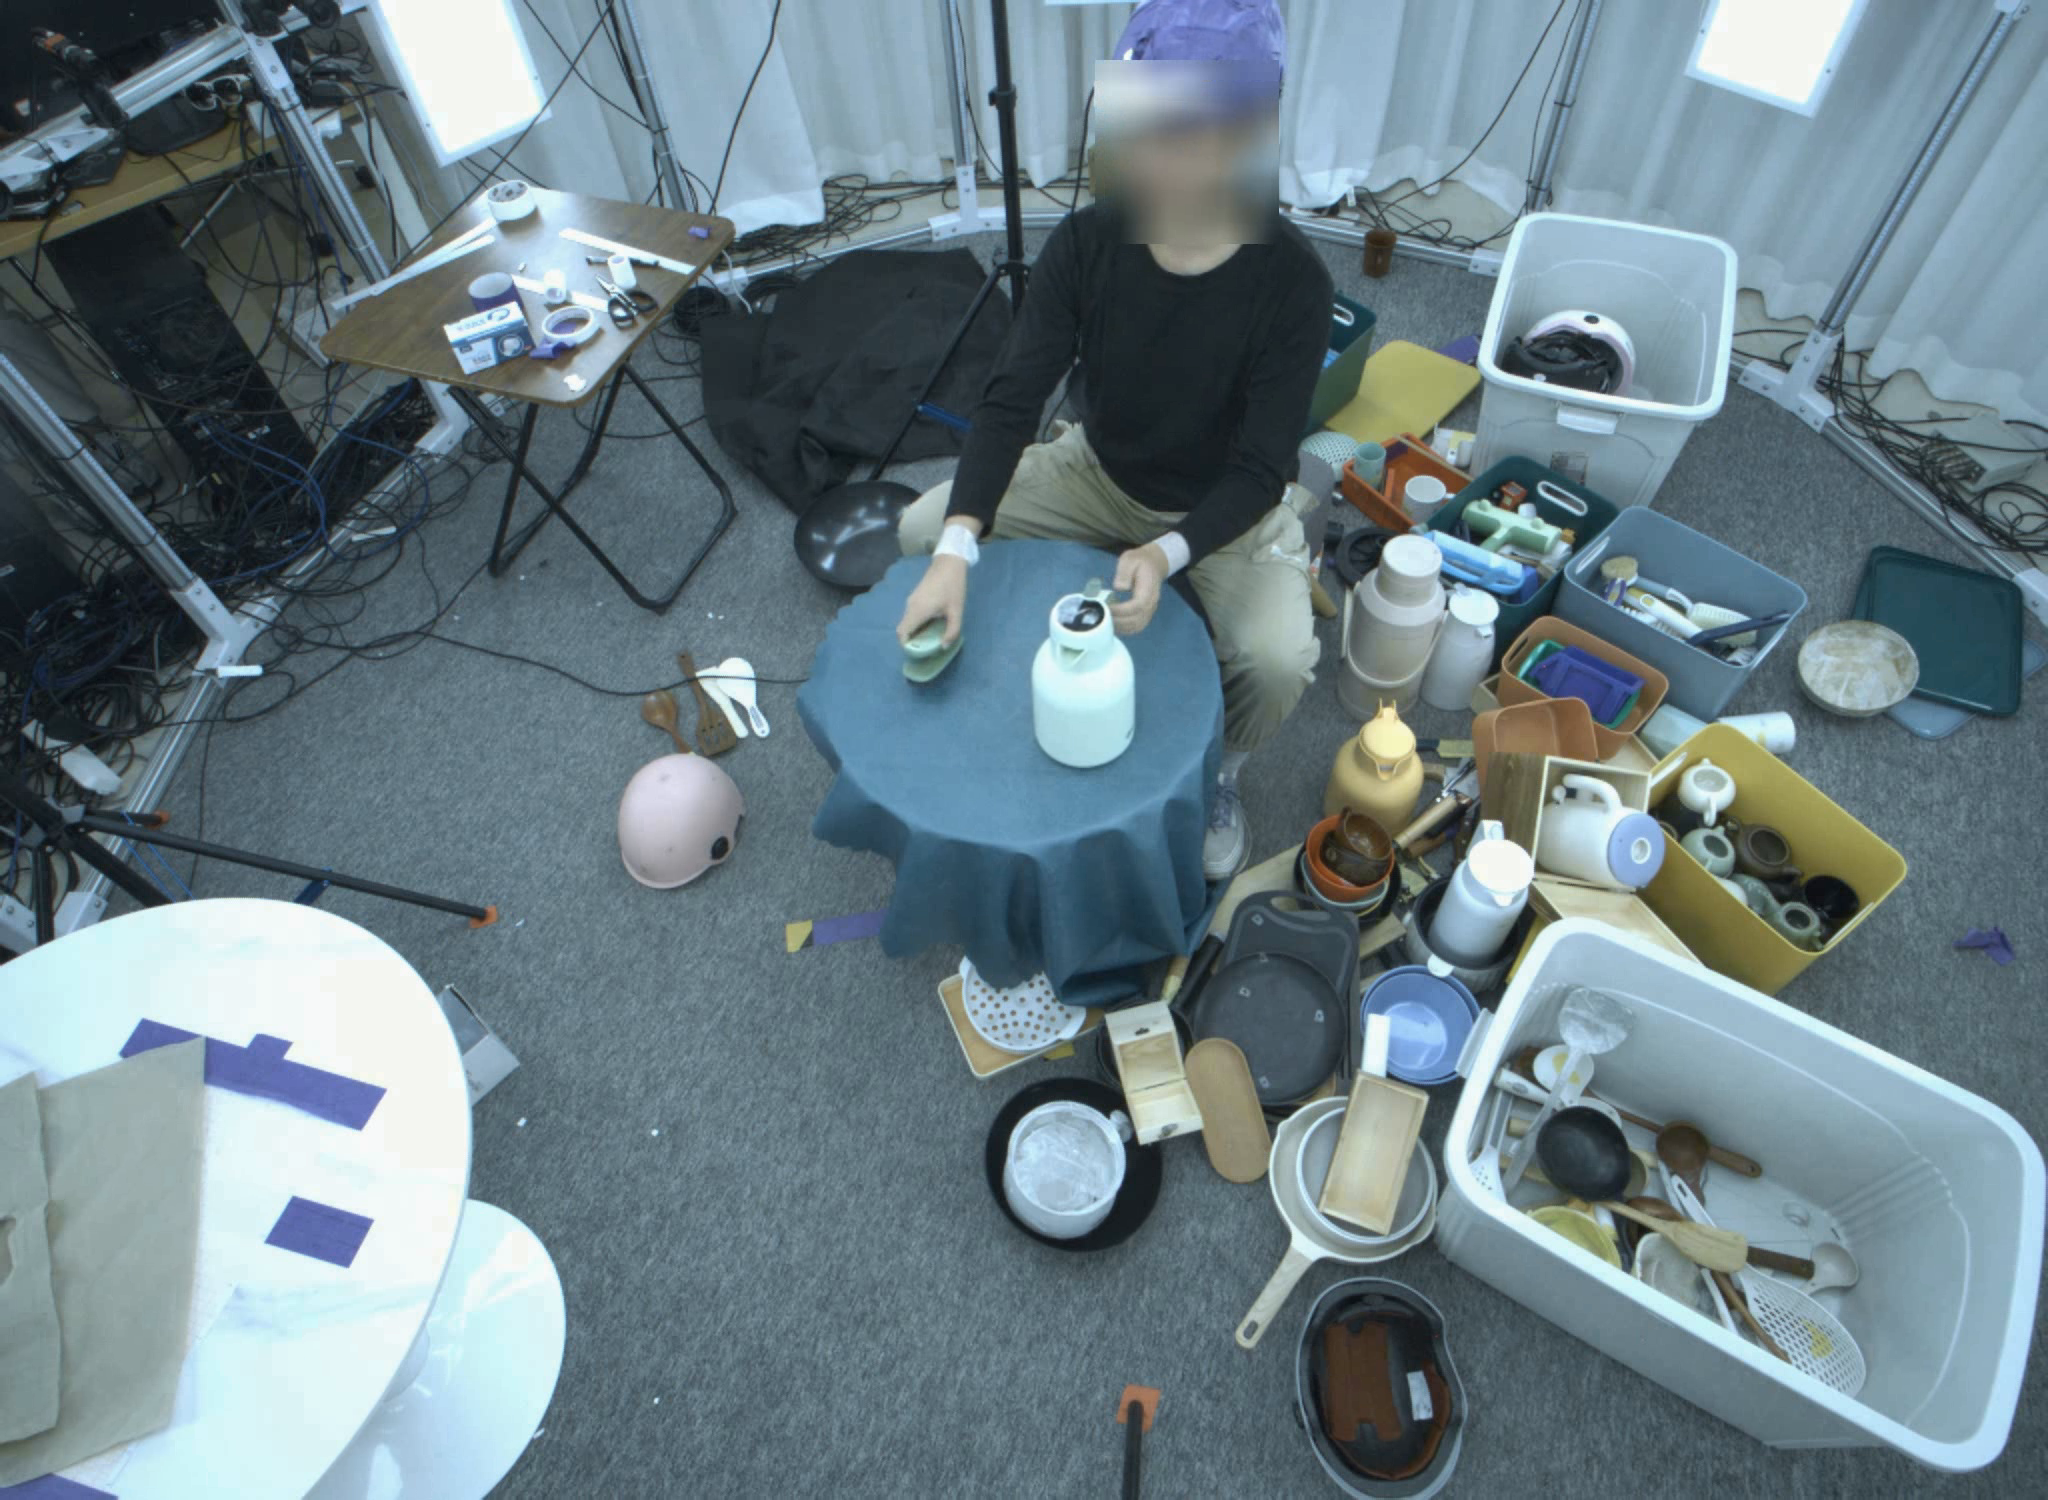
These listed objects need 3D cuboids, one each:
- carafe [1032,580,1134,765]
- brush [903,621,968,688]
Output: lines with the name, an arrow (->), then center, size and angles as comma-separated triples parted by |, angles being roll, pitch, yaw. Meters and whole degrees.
carafe -> 0.086, -0.114, 1.707 | 0.143, 0.259, 0.186 | 15, 55, 13
brush -> -0.134, -0.144, 1.842 | 0.058, 0.076, 0.124 | 25, 38, 24
